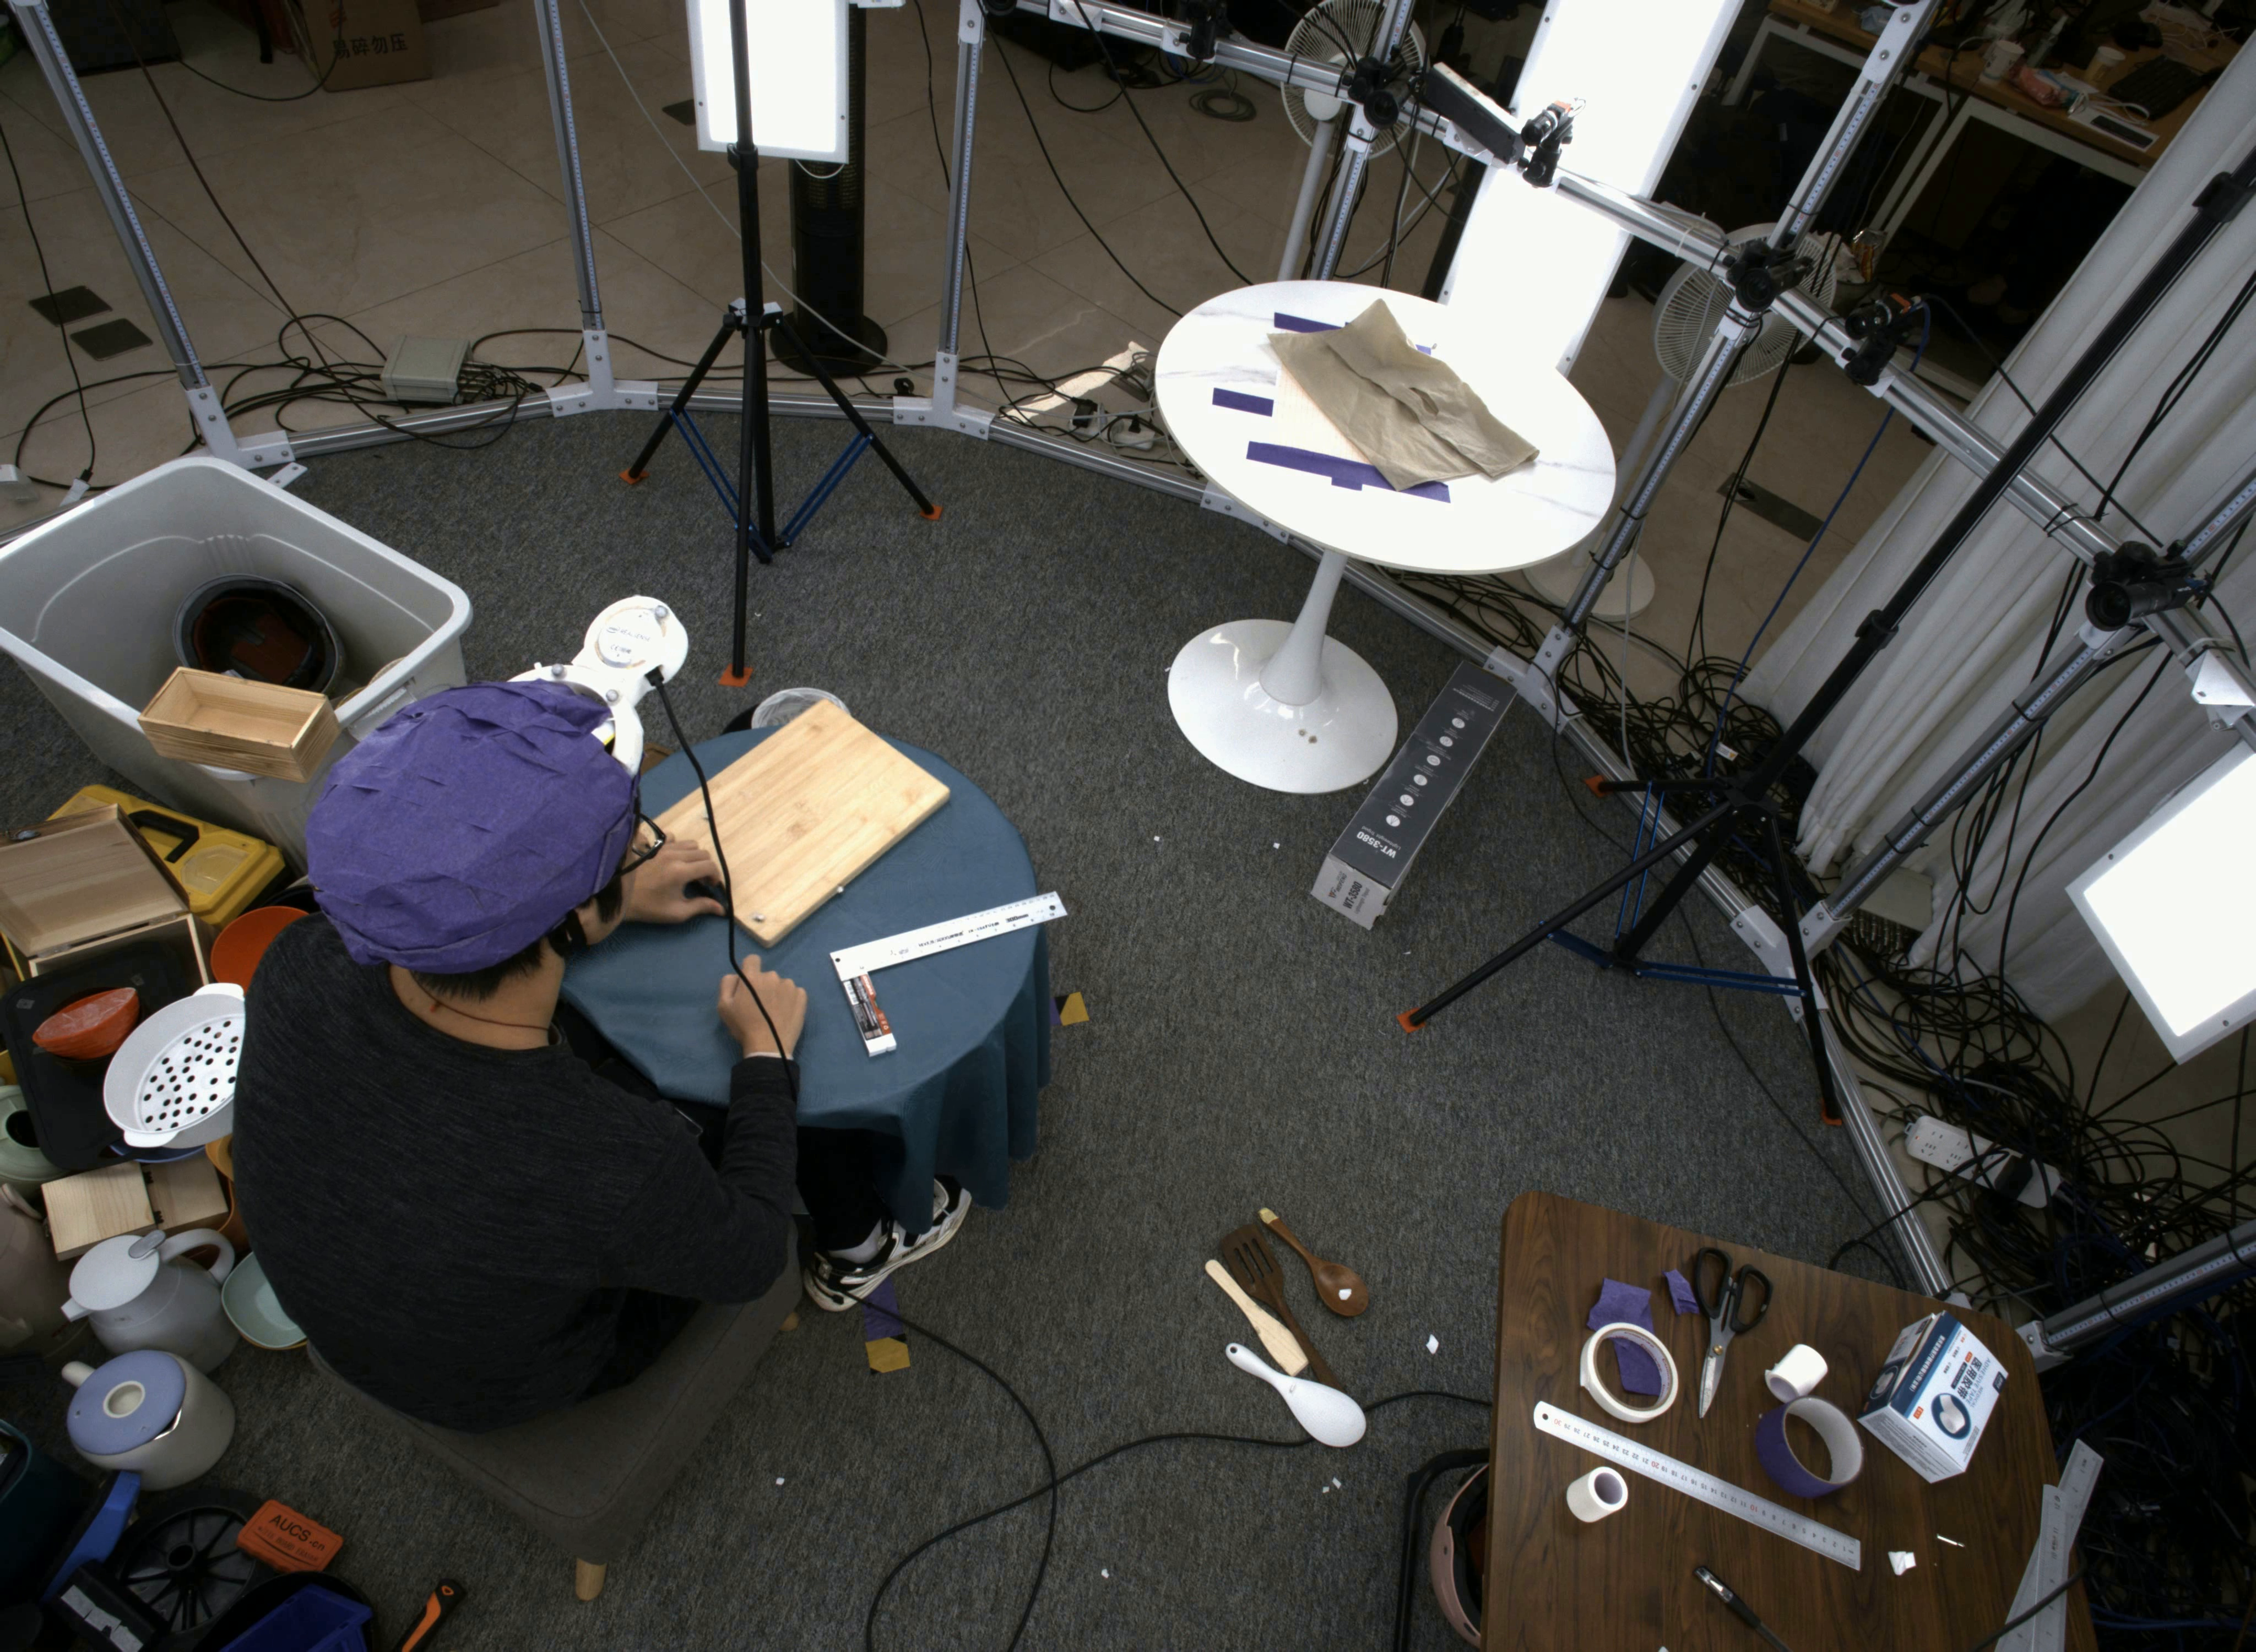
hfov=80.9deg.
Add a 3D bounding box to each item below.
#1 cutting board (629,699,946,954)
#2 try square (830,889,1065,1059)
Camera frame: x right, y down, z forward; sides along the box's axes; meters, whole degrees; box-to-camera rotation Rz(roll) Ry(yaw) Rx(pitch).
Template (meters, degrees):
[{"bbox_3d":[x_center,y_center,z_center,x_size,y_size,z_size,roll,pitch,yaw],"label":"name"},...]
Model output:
[{"bbox_3d":[-0.442,-0.011,1.712,0.246,0.024,0.348,36,53,13],"label":"cutting board"},{"bbox_3d":[-0.205,0.178,1.641,0.315,0.016,0.149,-15,61,-25],"label":"try square"}]
